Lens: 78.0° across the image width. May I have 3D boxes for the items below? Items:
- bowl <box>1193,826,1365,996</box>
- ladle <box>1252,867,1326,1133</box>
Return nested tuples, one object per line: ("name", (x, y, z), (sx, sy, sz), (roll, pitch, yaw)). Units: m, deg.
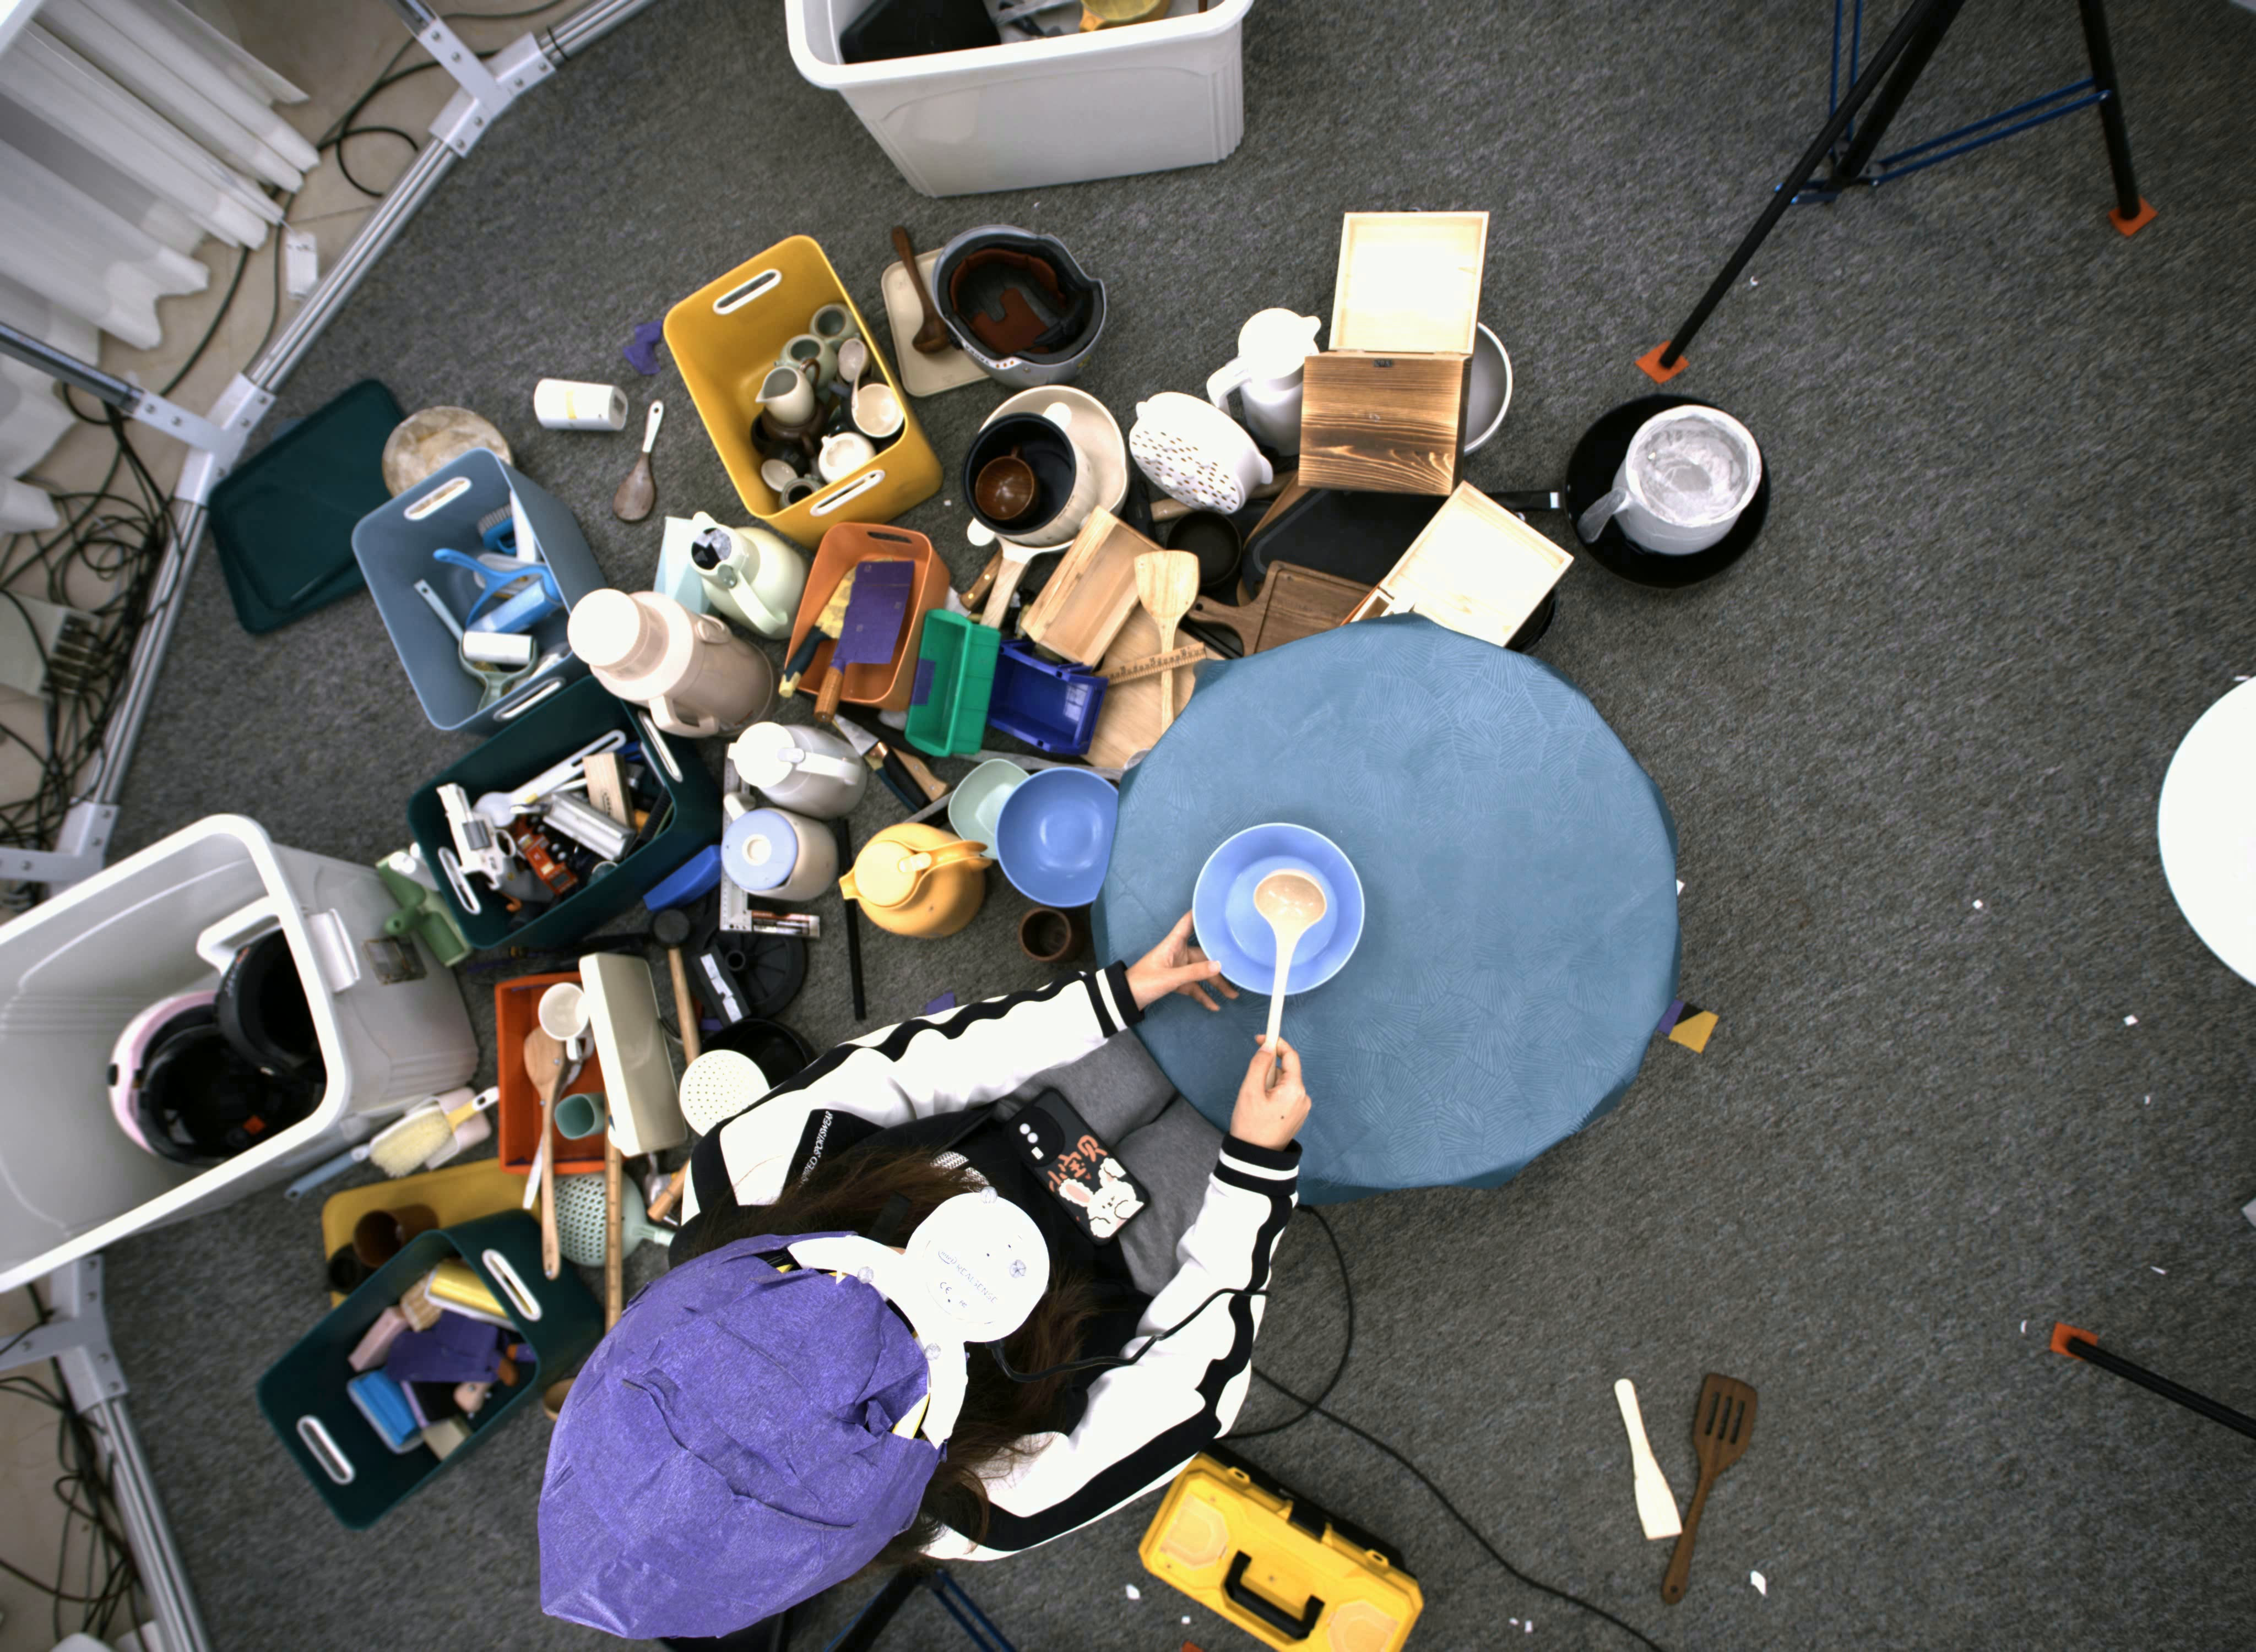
("bowl", (0.159, 0.089, 1.445), (0.177, 0.070, 0.175), (-1, 86, 11))
("ladle", (0.145, 0.162, 1.336), (0.072, 0.074, 0.250), (5, 71, 11))
